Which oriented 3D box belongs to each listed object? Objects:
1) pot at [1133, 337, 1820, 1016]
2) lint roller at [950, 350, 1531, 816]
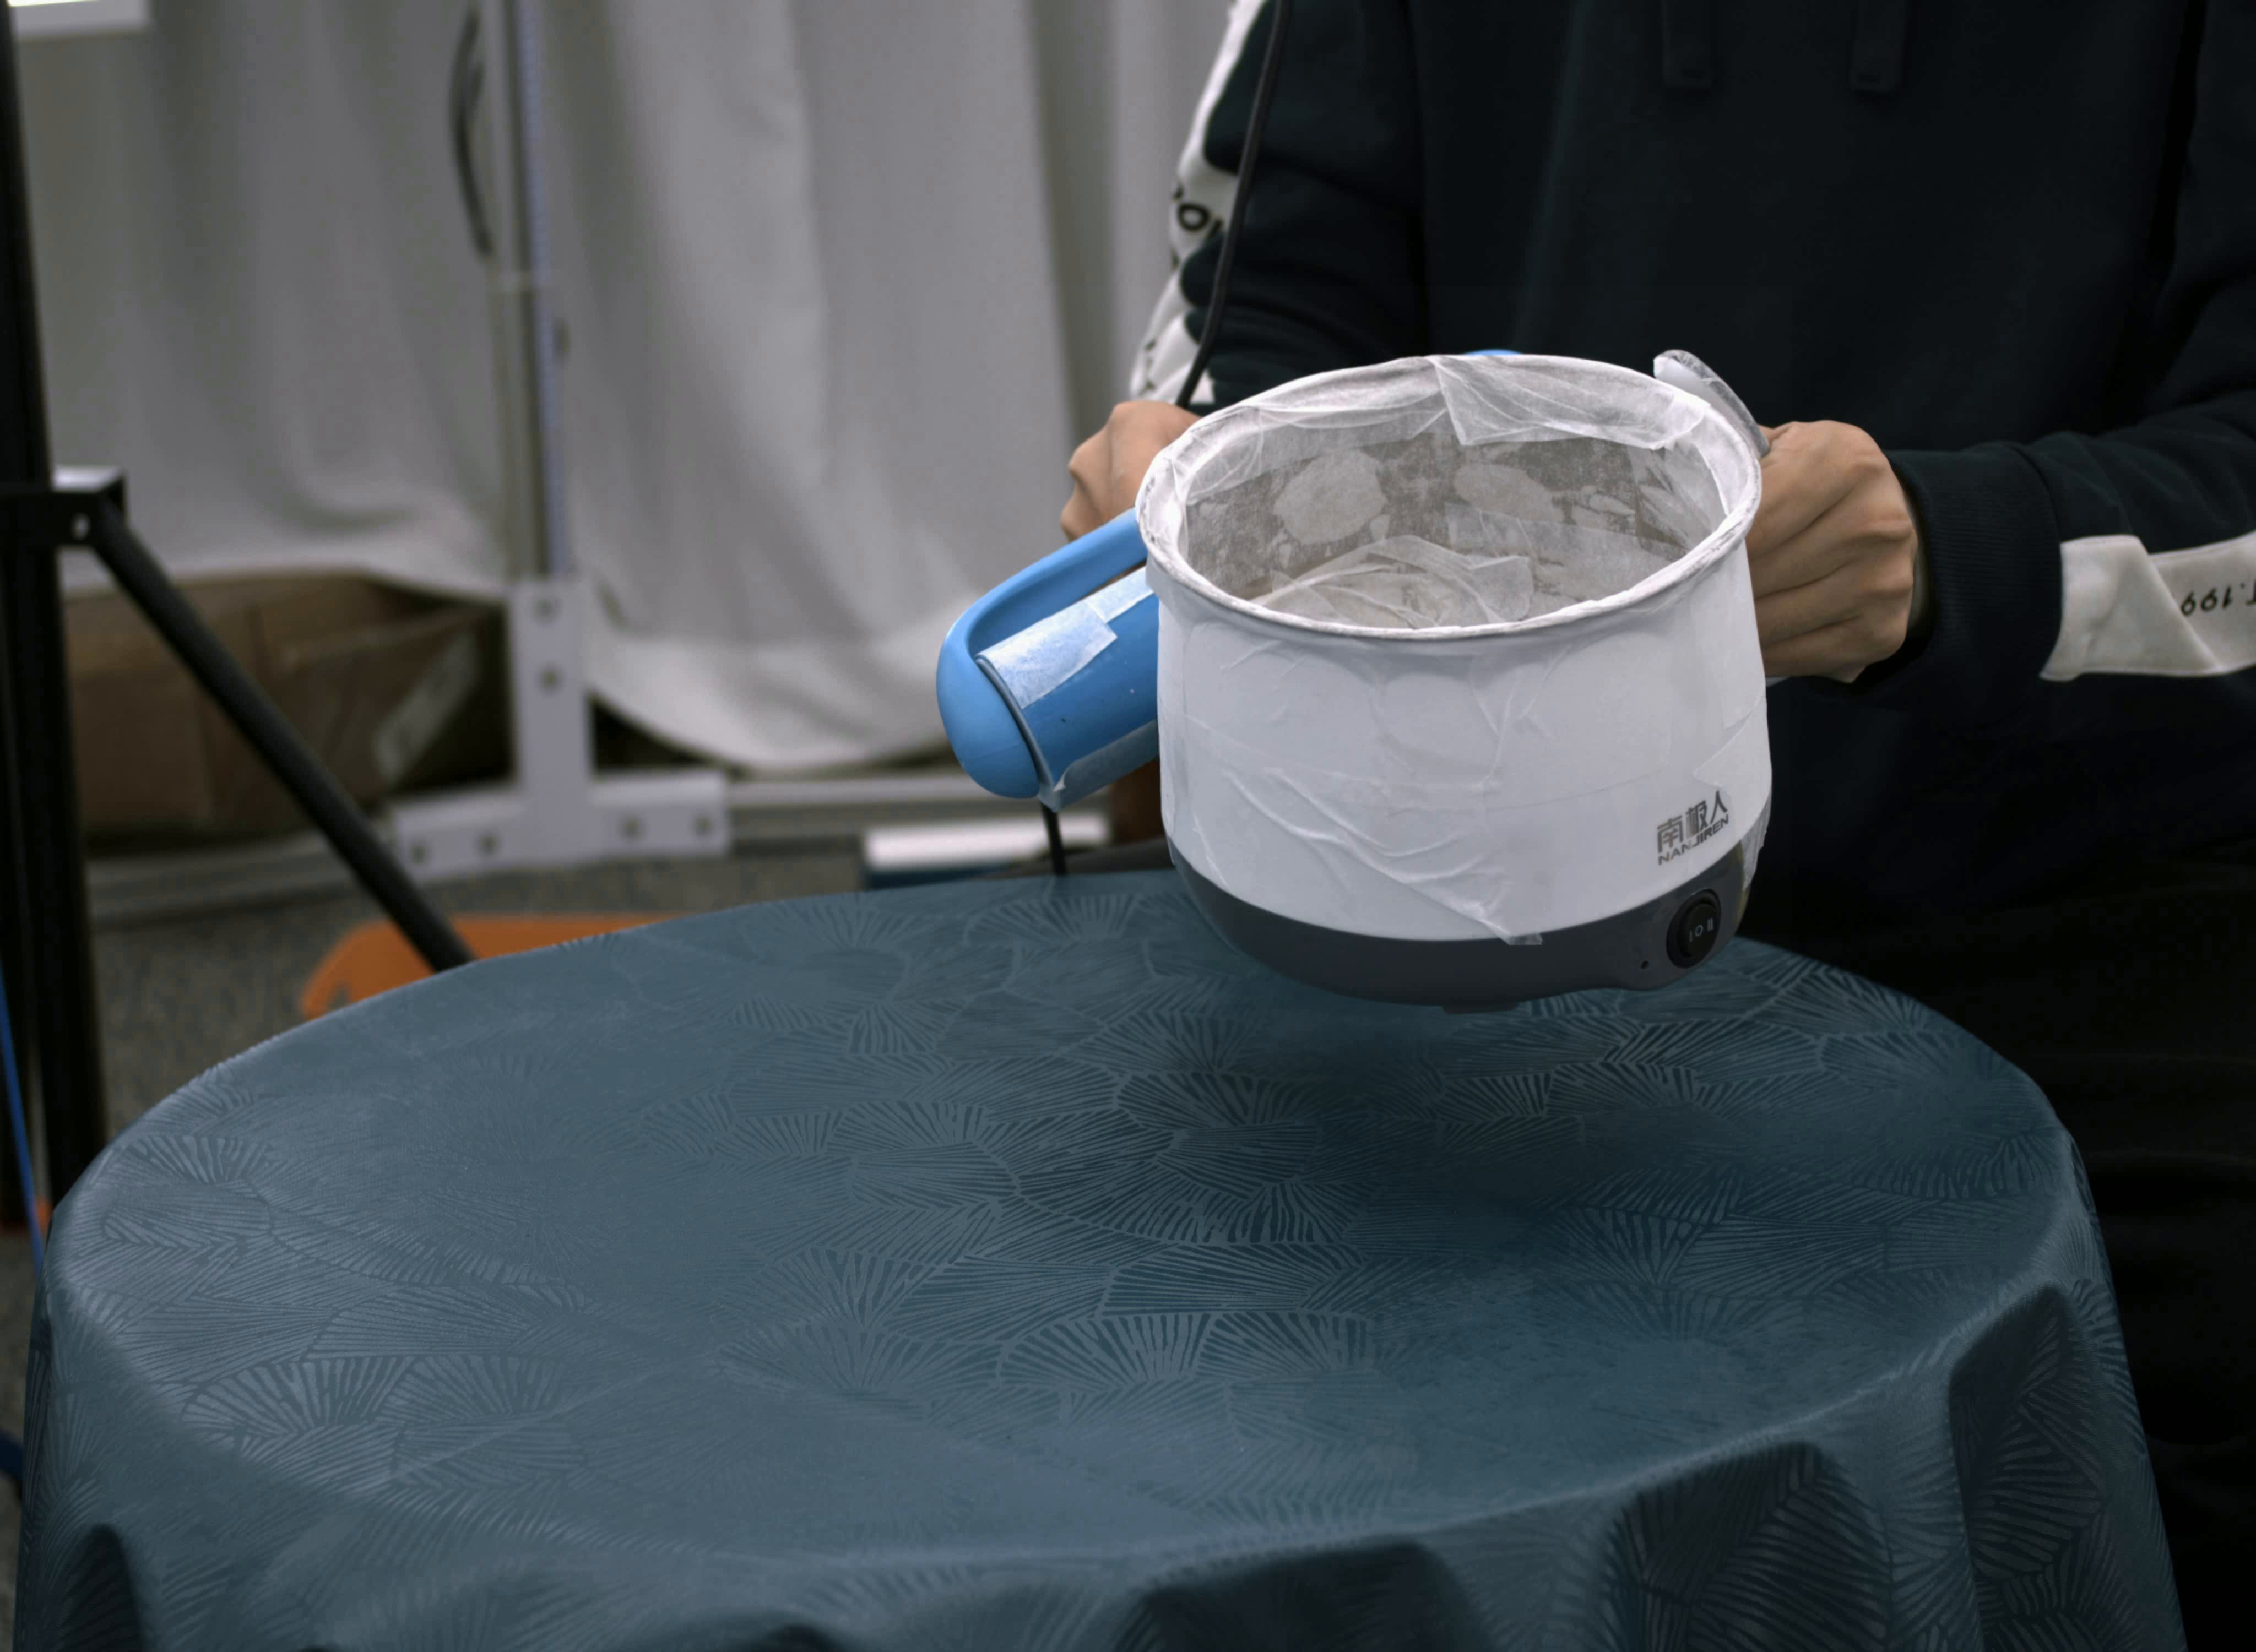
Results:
[{"bbox_3d":[0.114,-0.052,1.533,0.230,0.136,0.183,-31,38,-35],"label":"pot"},{"bbox_3d":[0.032,-0.078,1.675,0.227,0.067,0.183,-31,15,-12],"label":"lint roller"}]
